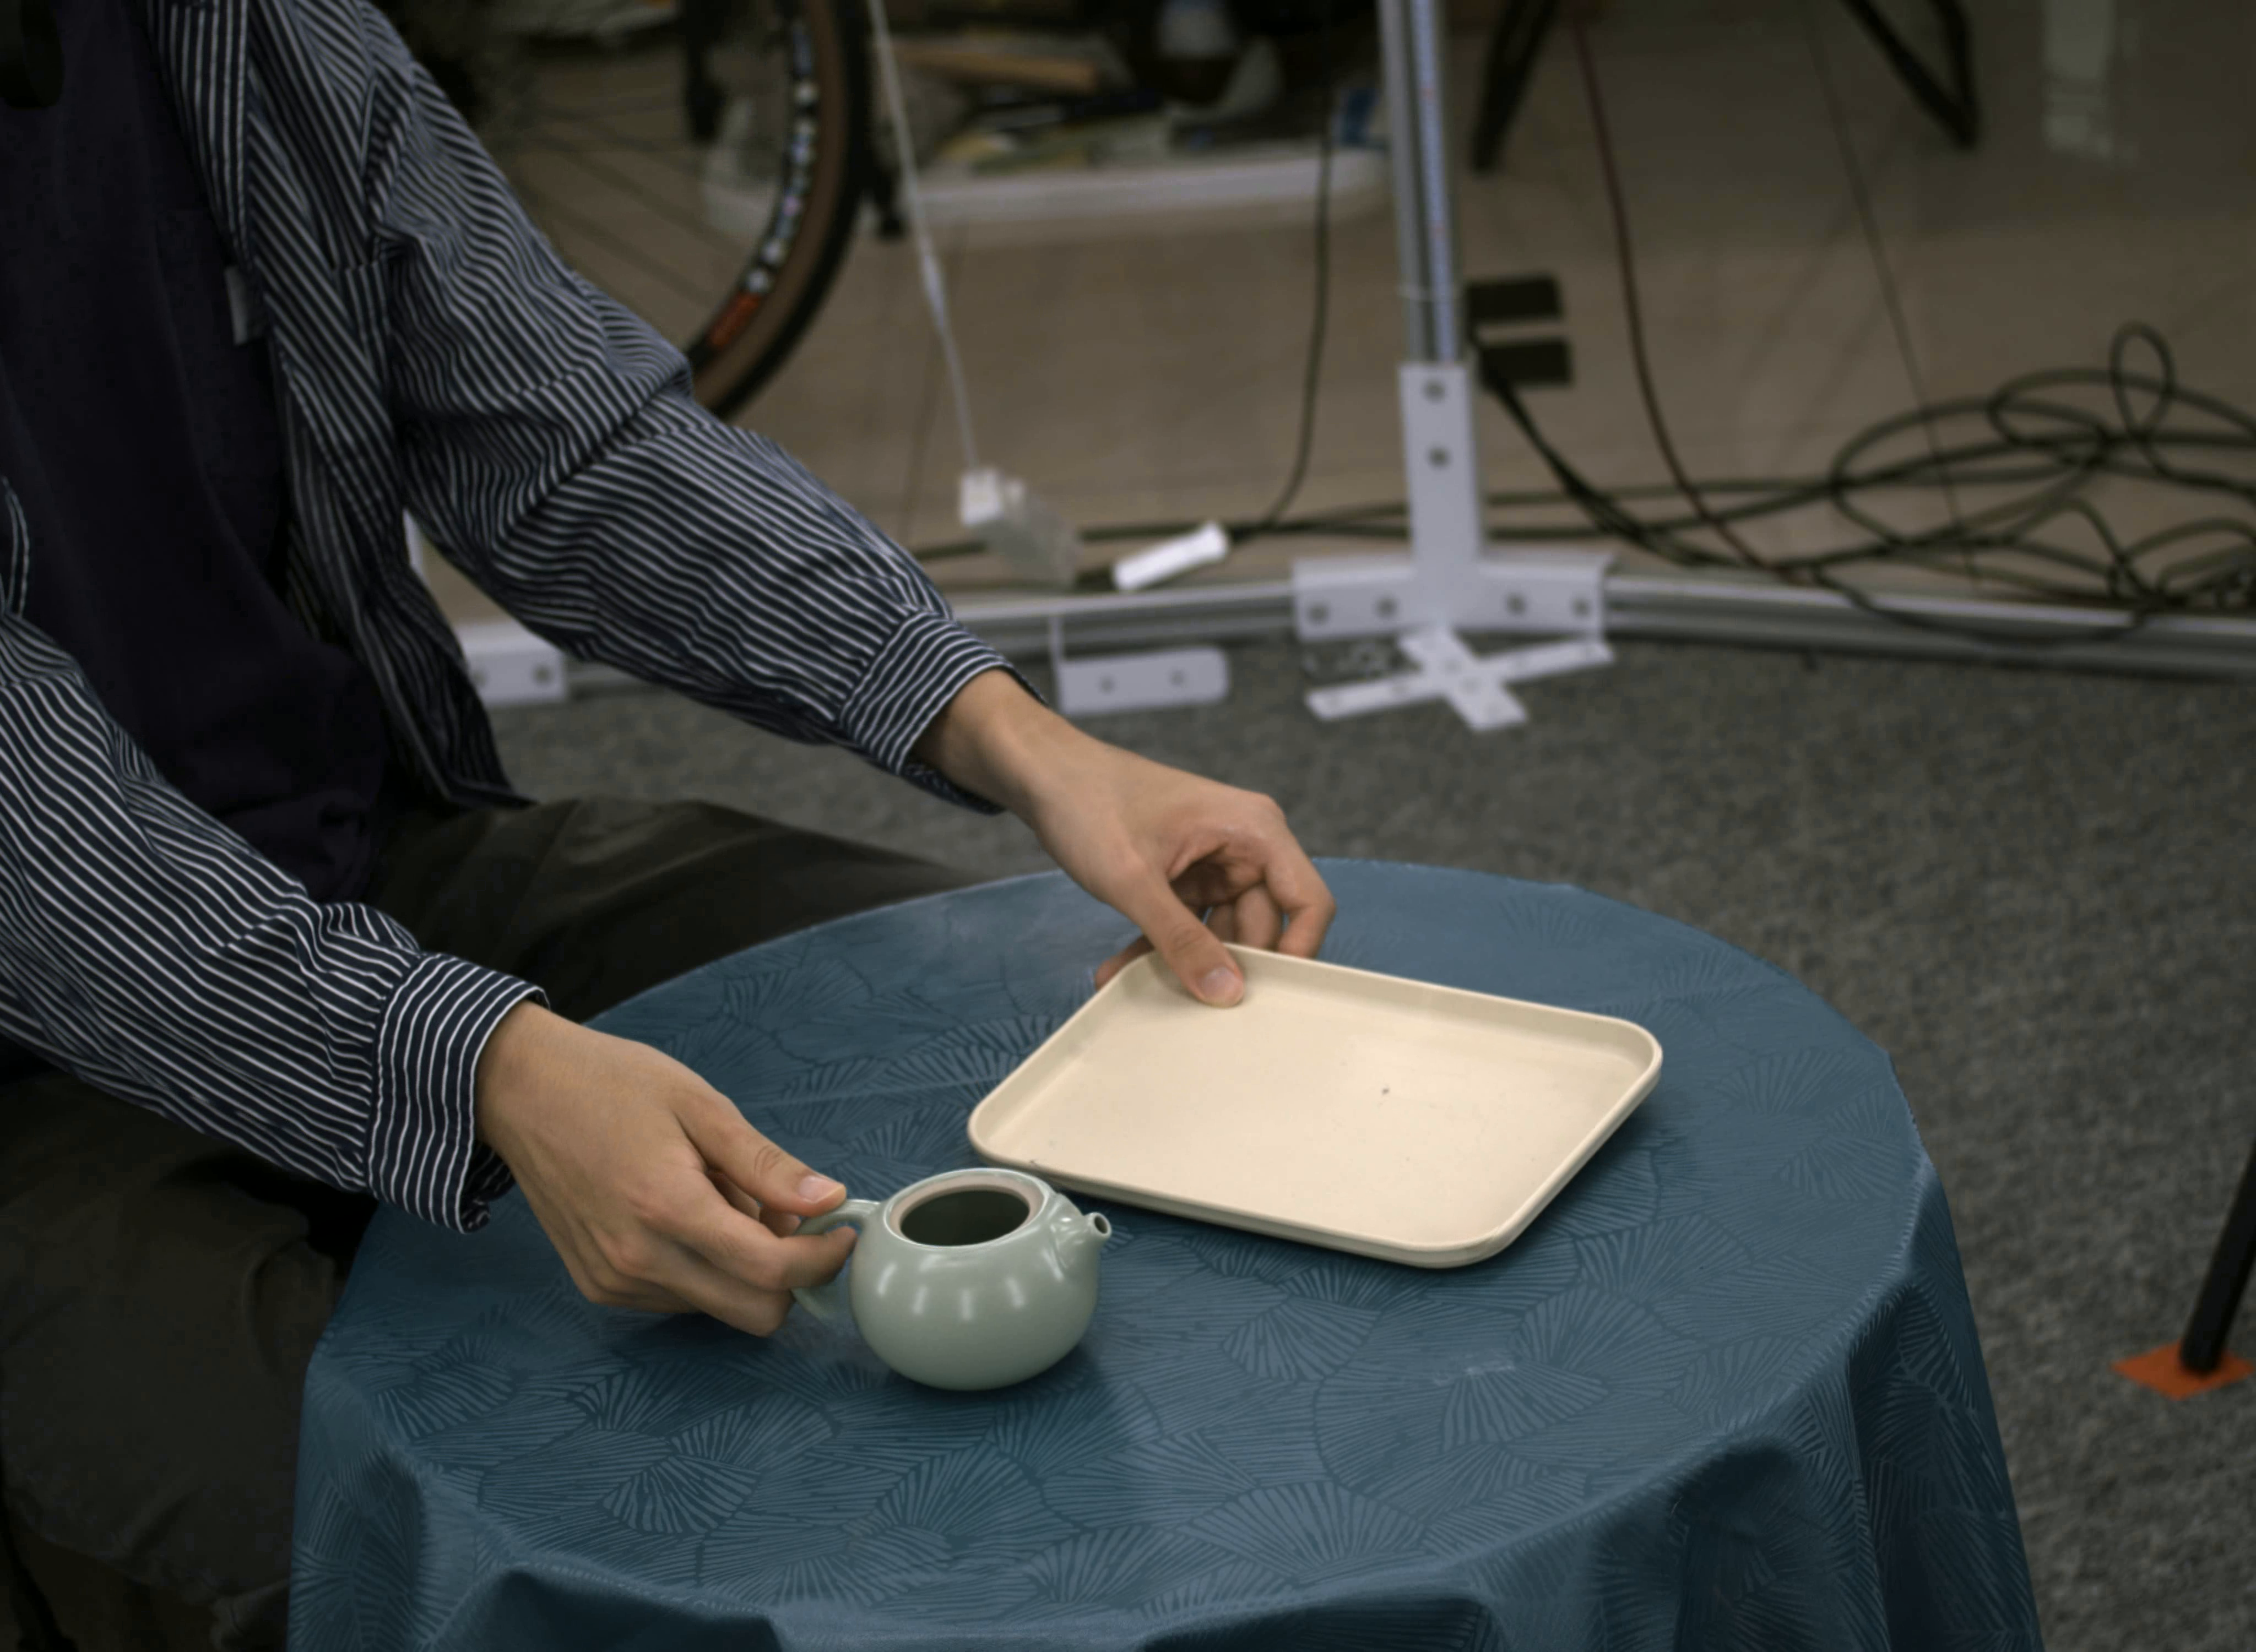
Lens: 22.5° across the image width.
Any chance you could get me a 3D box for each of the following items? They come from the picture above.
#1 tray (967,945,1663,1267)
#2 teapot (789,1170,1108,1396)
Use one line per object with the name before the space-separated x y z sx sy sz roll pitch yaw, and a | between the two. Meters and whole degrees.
tray | 0.072 0.107 2.169 0.238 0.018 0.169 10 33 31
teapot | -0.064 0.165 2.044 0.128 0.062 0.090 4 30 23
